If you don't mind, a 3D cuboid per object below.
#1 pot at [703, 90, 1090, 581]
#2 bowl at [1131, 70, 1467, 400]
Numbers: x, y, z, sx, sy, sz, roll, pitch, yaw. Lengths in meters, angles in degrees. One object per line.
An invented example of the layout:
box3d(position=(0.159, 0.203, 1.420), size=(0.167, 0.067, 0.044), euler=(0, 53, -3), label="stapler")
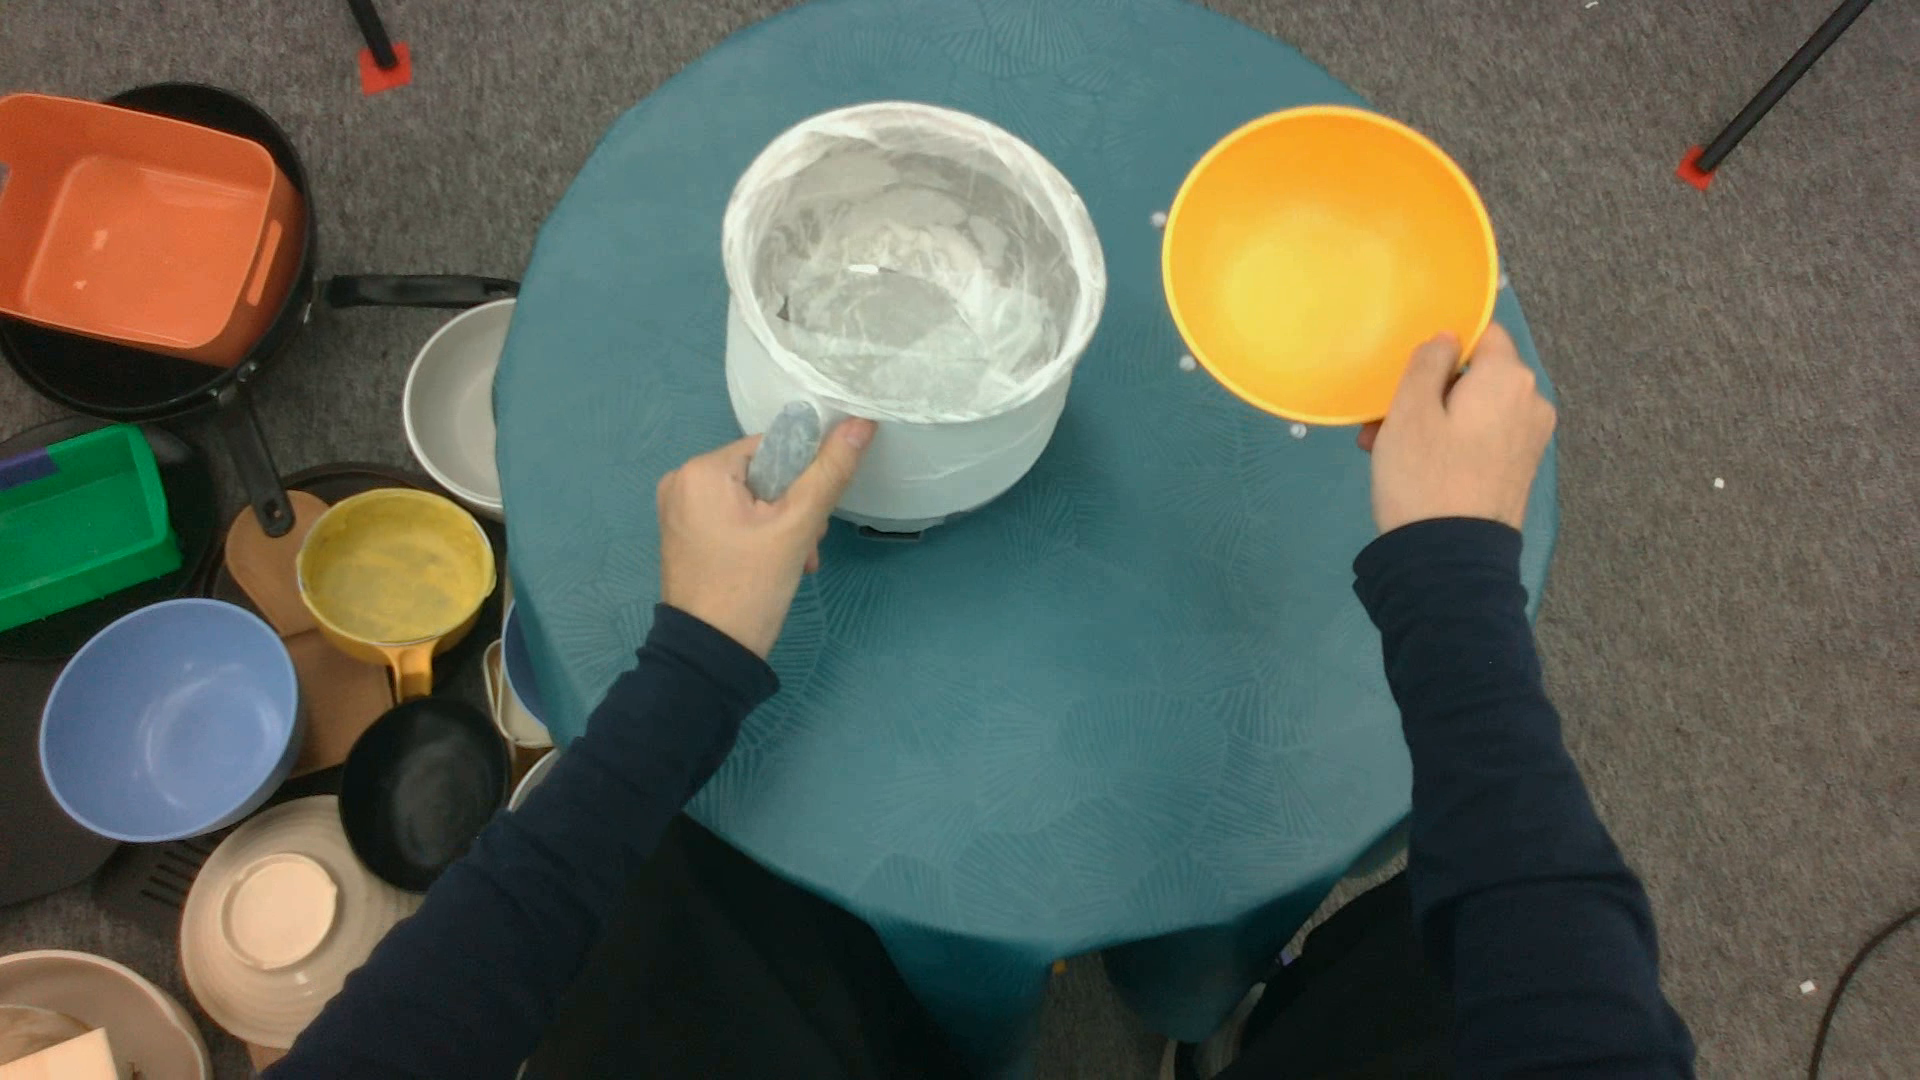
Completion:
box3d(position=(-0.048, -0.090, 0.674), size=(0.179, 0.136, 0.235), euler=(28, 63, 5), label="pot")
box3d(position=(0.147, -0.131, 0.622), size=(0.145, 0.060, 0.145), euler=(0, 87, 1), label="bowl")
